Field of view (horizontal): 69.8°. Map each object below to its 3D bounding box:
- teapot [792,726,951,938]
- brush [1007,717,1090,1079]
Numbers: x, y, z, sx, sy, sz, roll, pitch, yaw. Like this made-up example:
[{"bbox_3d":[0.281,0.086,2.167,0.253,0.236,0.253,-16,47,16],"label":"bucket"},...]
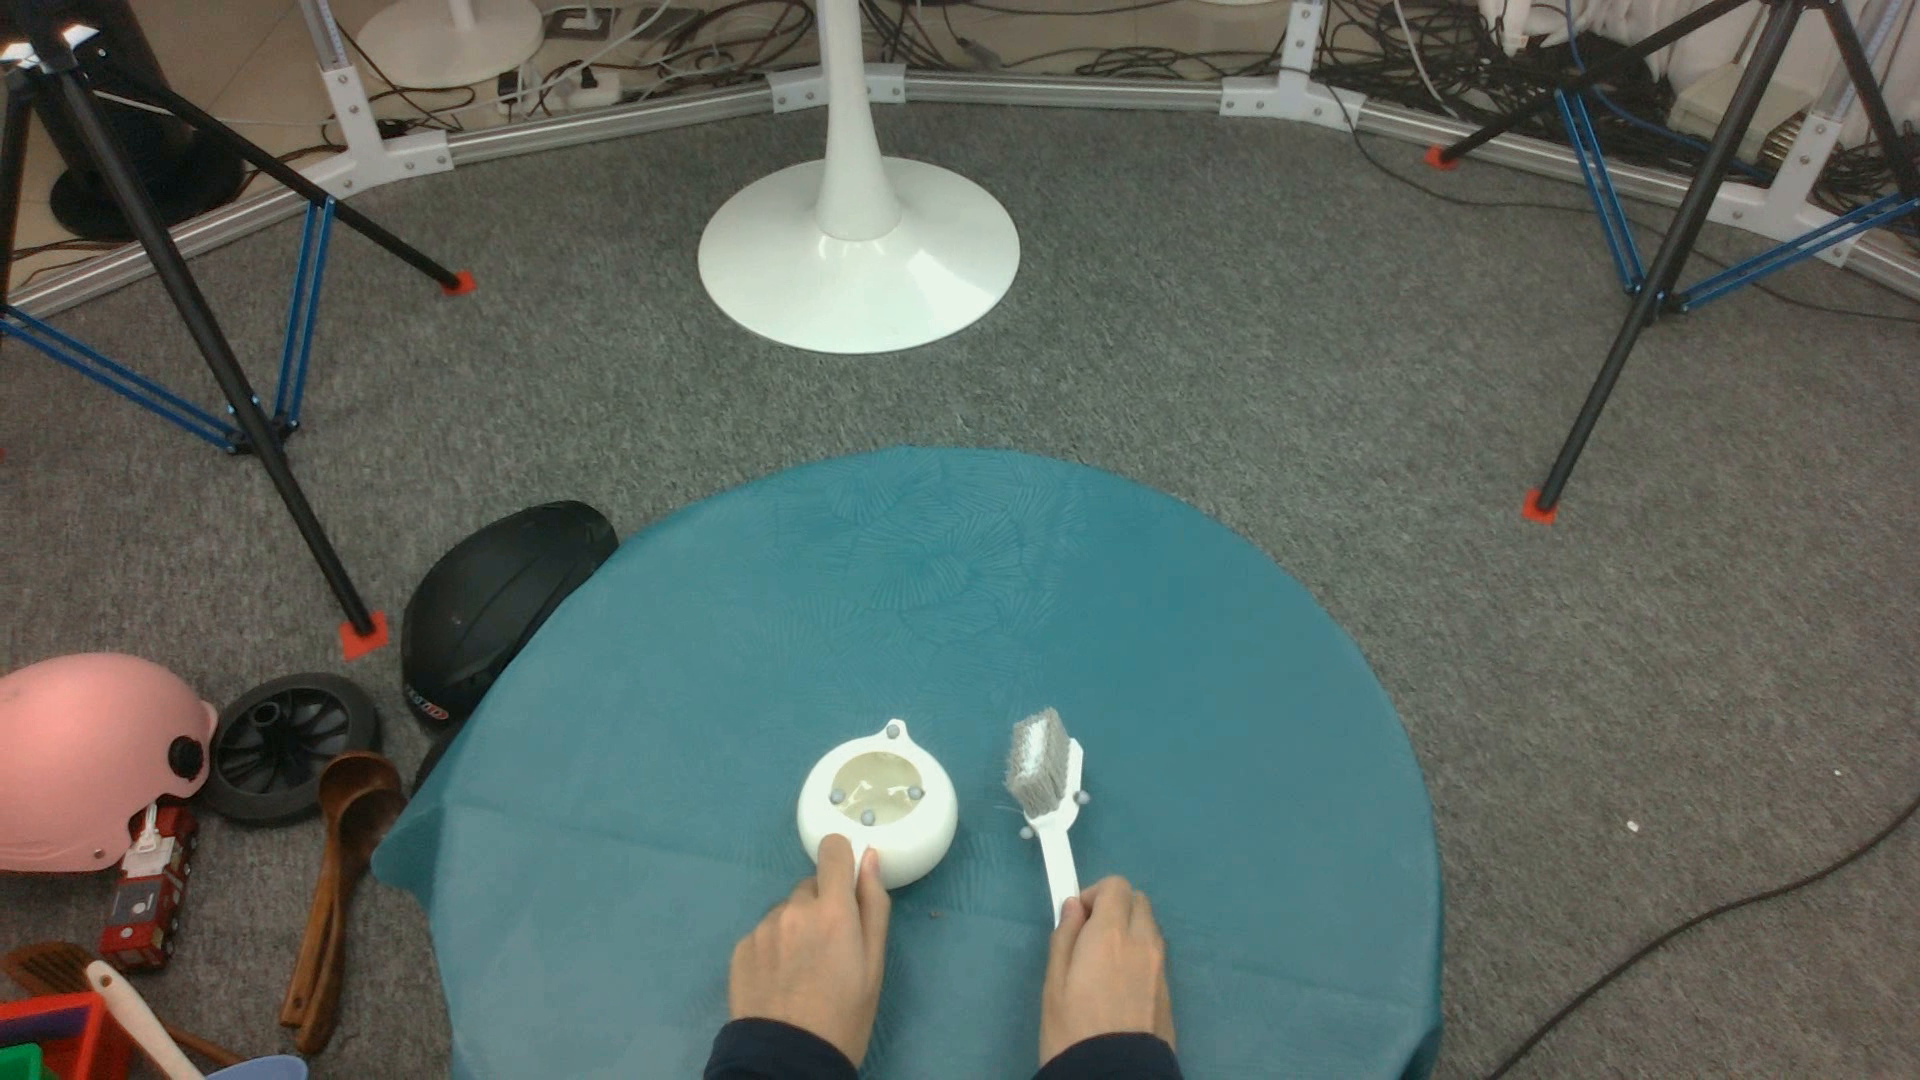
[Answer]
[{"bbox_3d":[-0.054,0.171,0.806,0.093,0.056,0.128,10,44,1],"label":"teapot"},{"bbox_3d":[0.050,0.206,0.774,0.034,0.050,0.245,-19,44,20],"label":"brush"}]
